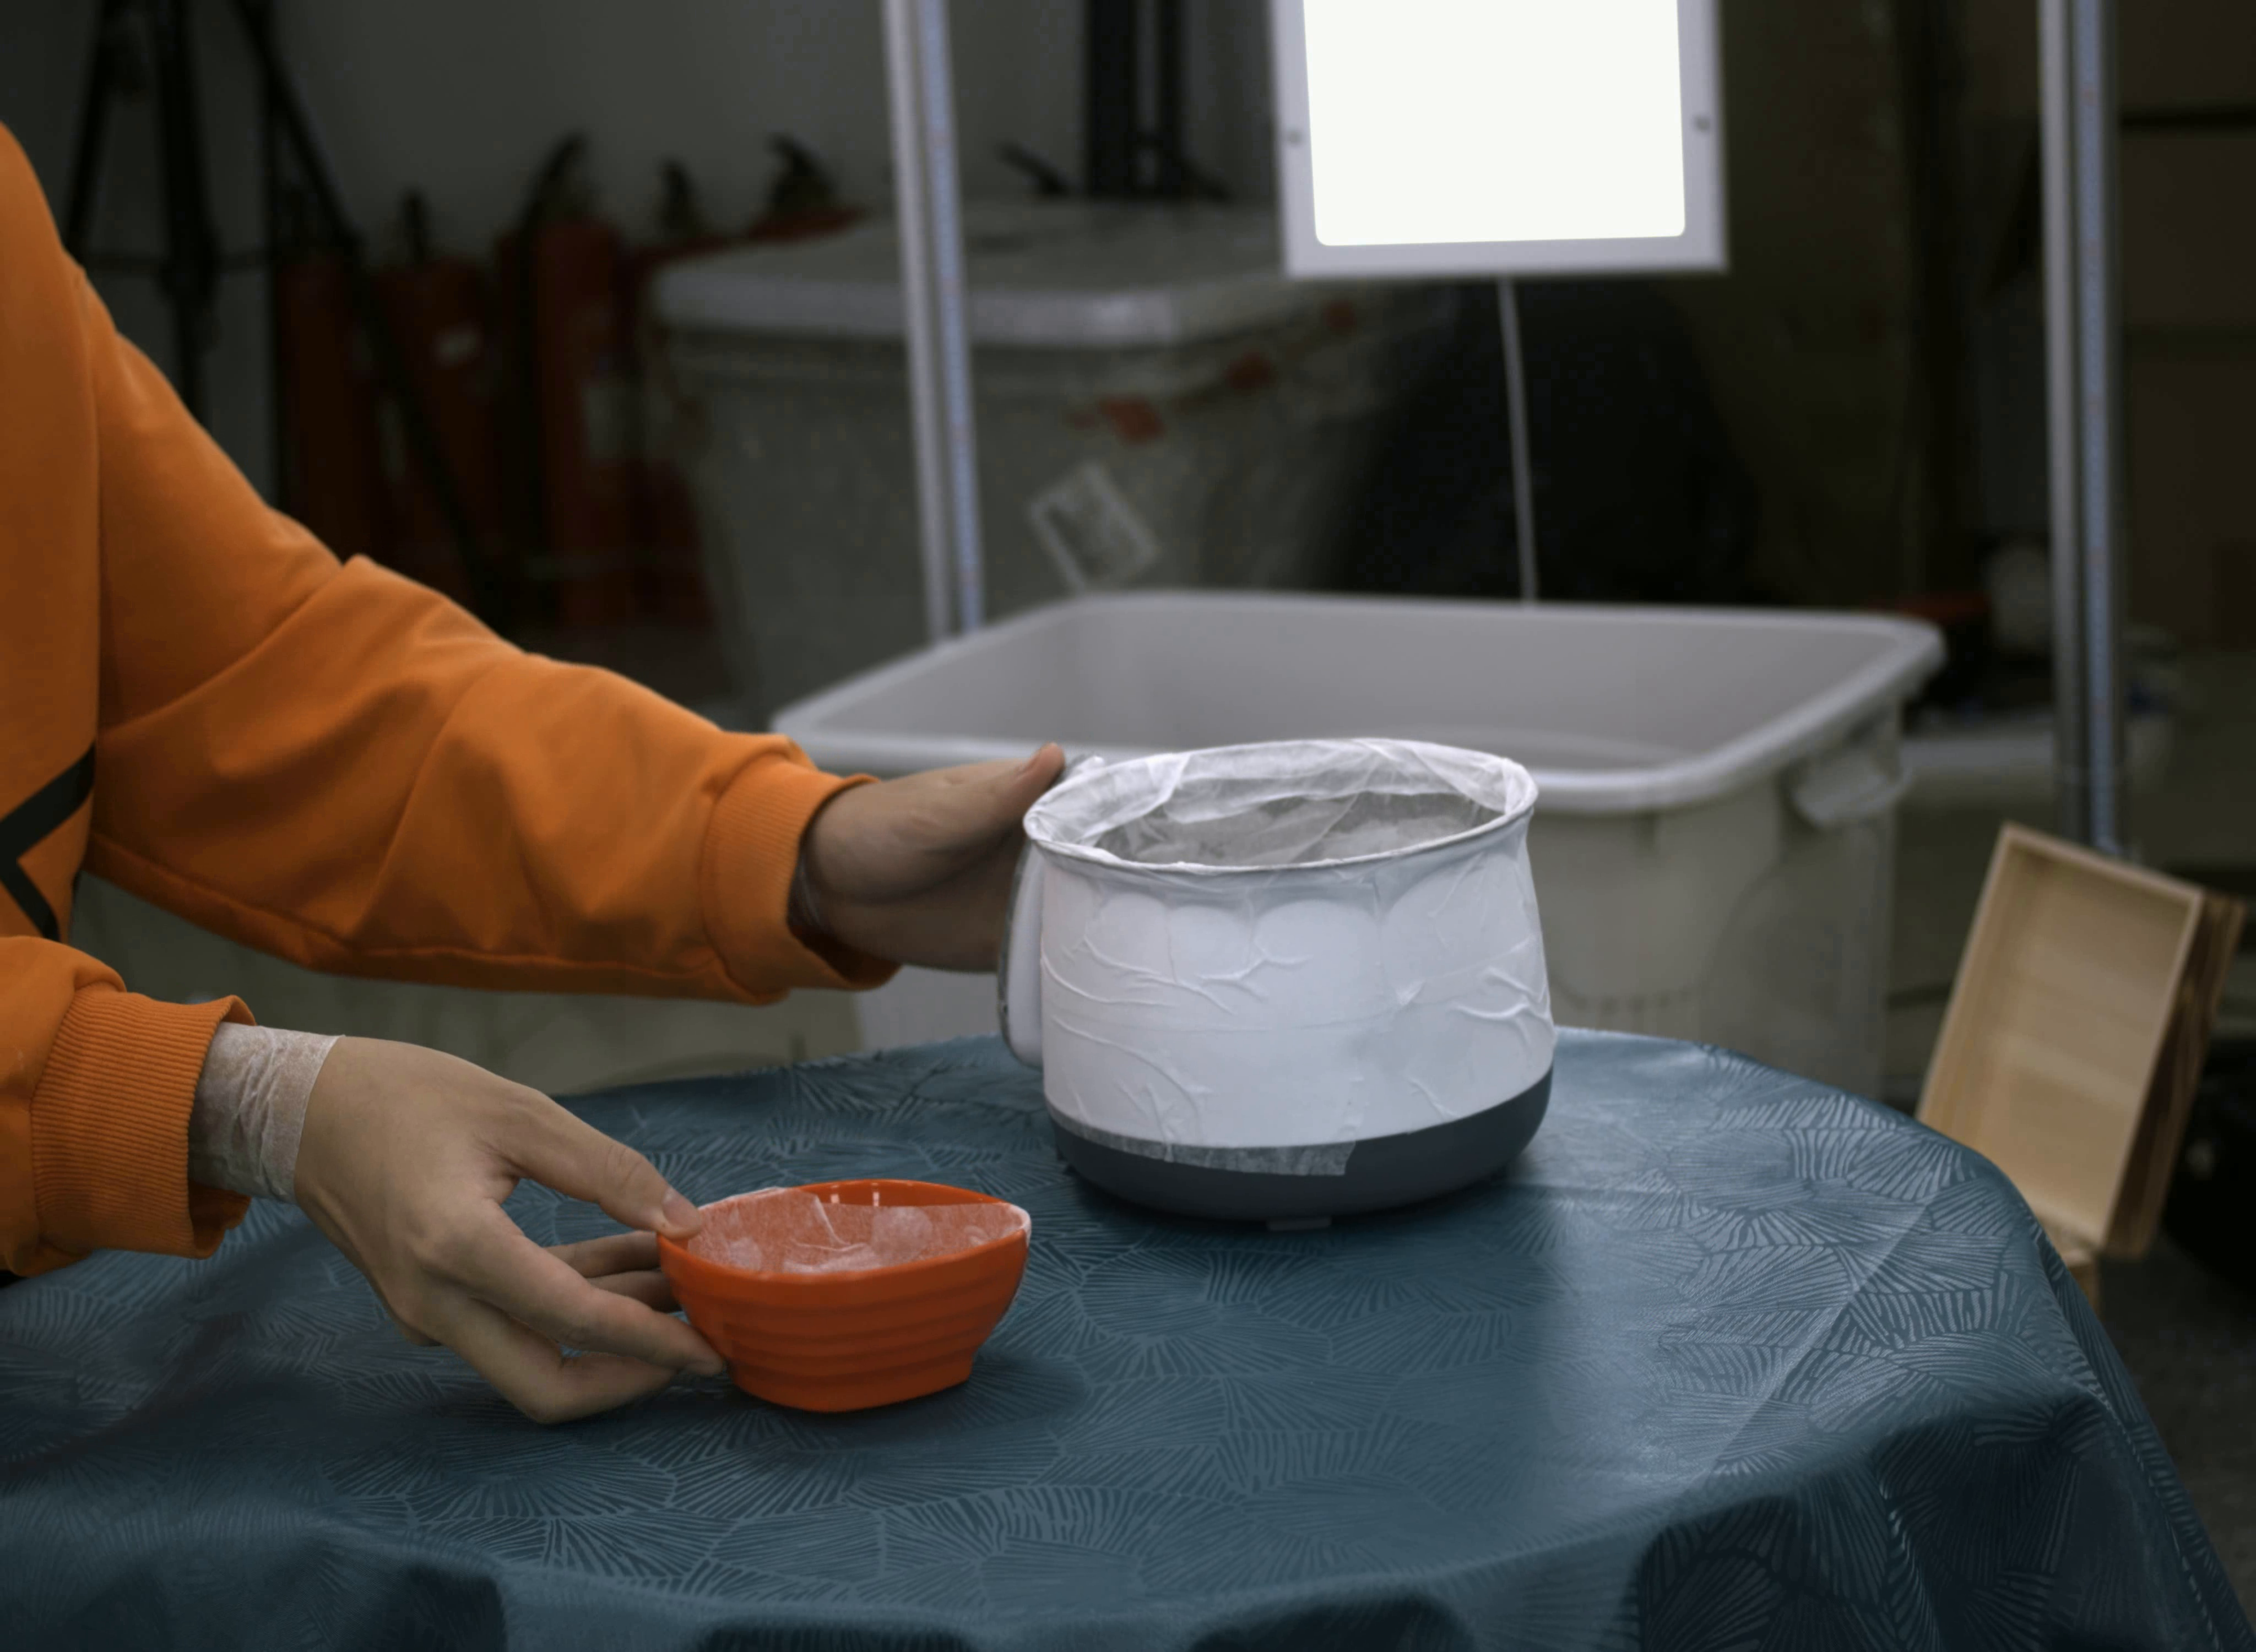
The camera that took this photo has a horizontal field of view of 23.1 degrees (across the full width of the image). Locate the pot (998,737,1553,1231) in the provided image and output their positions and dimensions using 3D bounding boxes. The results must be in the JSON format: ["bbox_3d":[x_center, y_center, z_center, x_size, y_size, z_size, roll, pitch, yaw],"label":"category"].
[{"bbox_3d":[0.038,0.049,1.911,0.174,0.137,0.239,-16,18,-40],"label":"pot"}]

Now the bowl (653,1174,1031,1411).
[{"bbox_3d":[-0.089,0.147,1.726,0.118,0.051,0.119,-2,11,-1],"label":"bowl"}]
